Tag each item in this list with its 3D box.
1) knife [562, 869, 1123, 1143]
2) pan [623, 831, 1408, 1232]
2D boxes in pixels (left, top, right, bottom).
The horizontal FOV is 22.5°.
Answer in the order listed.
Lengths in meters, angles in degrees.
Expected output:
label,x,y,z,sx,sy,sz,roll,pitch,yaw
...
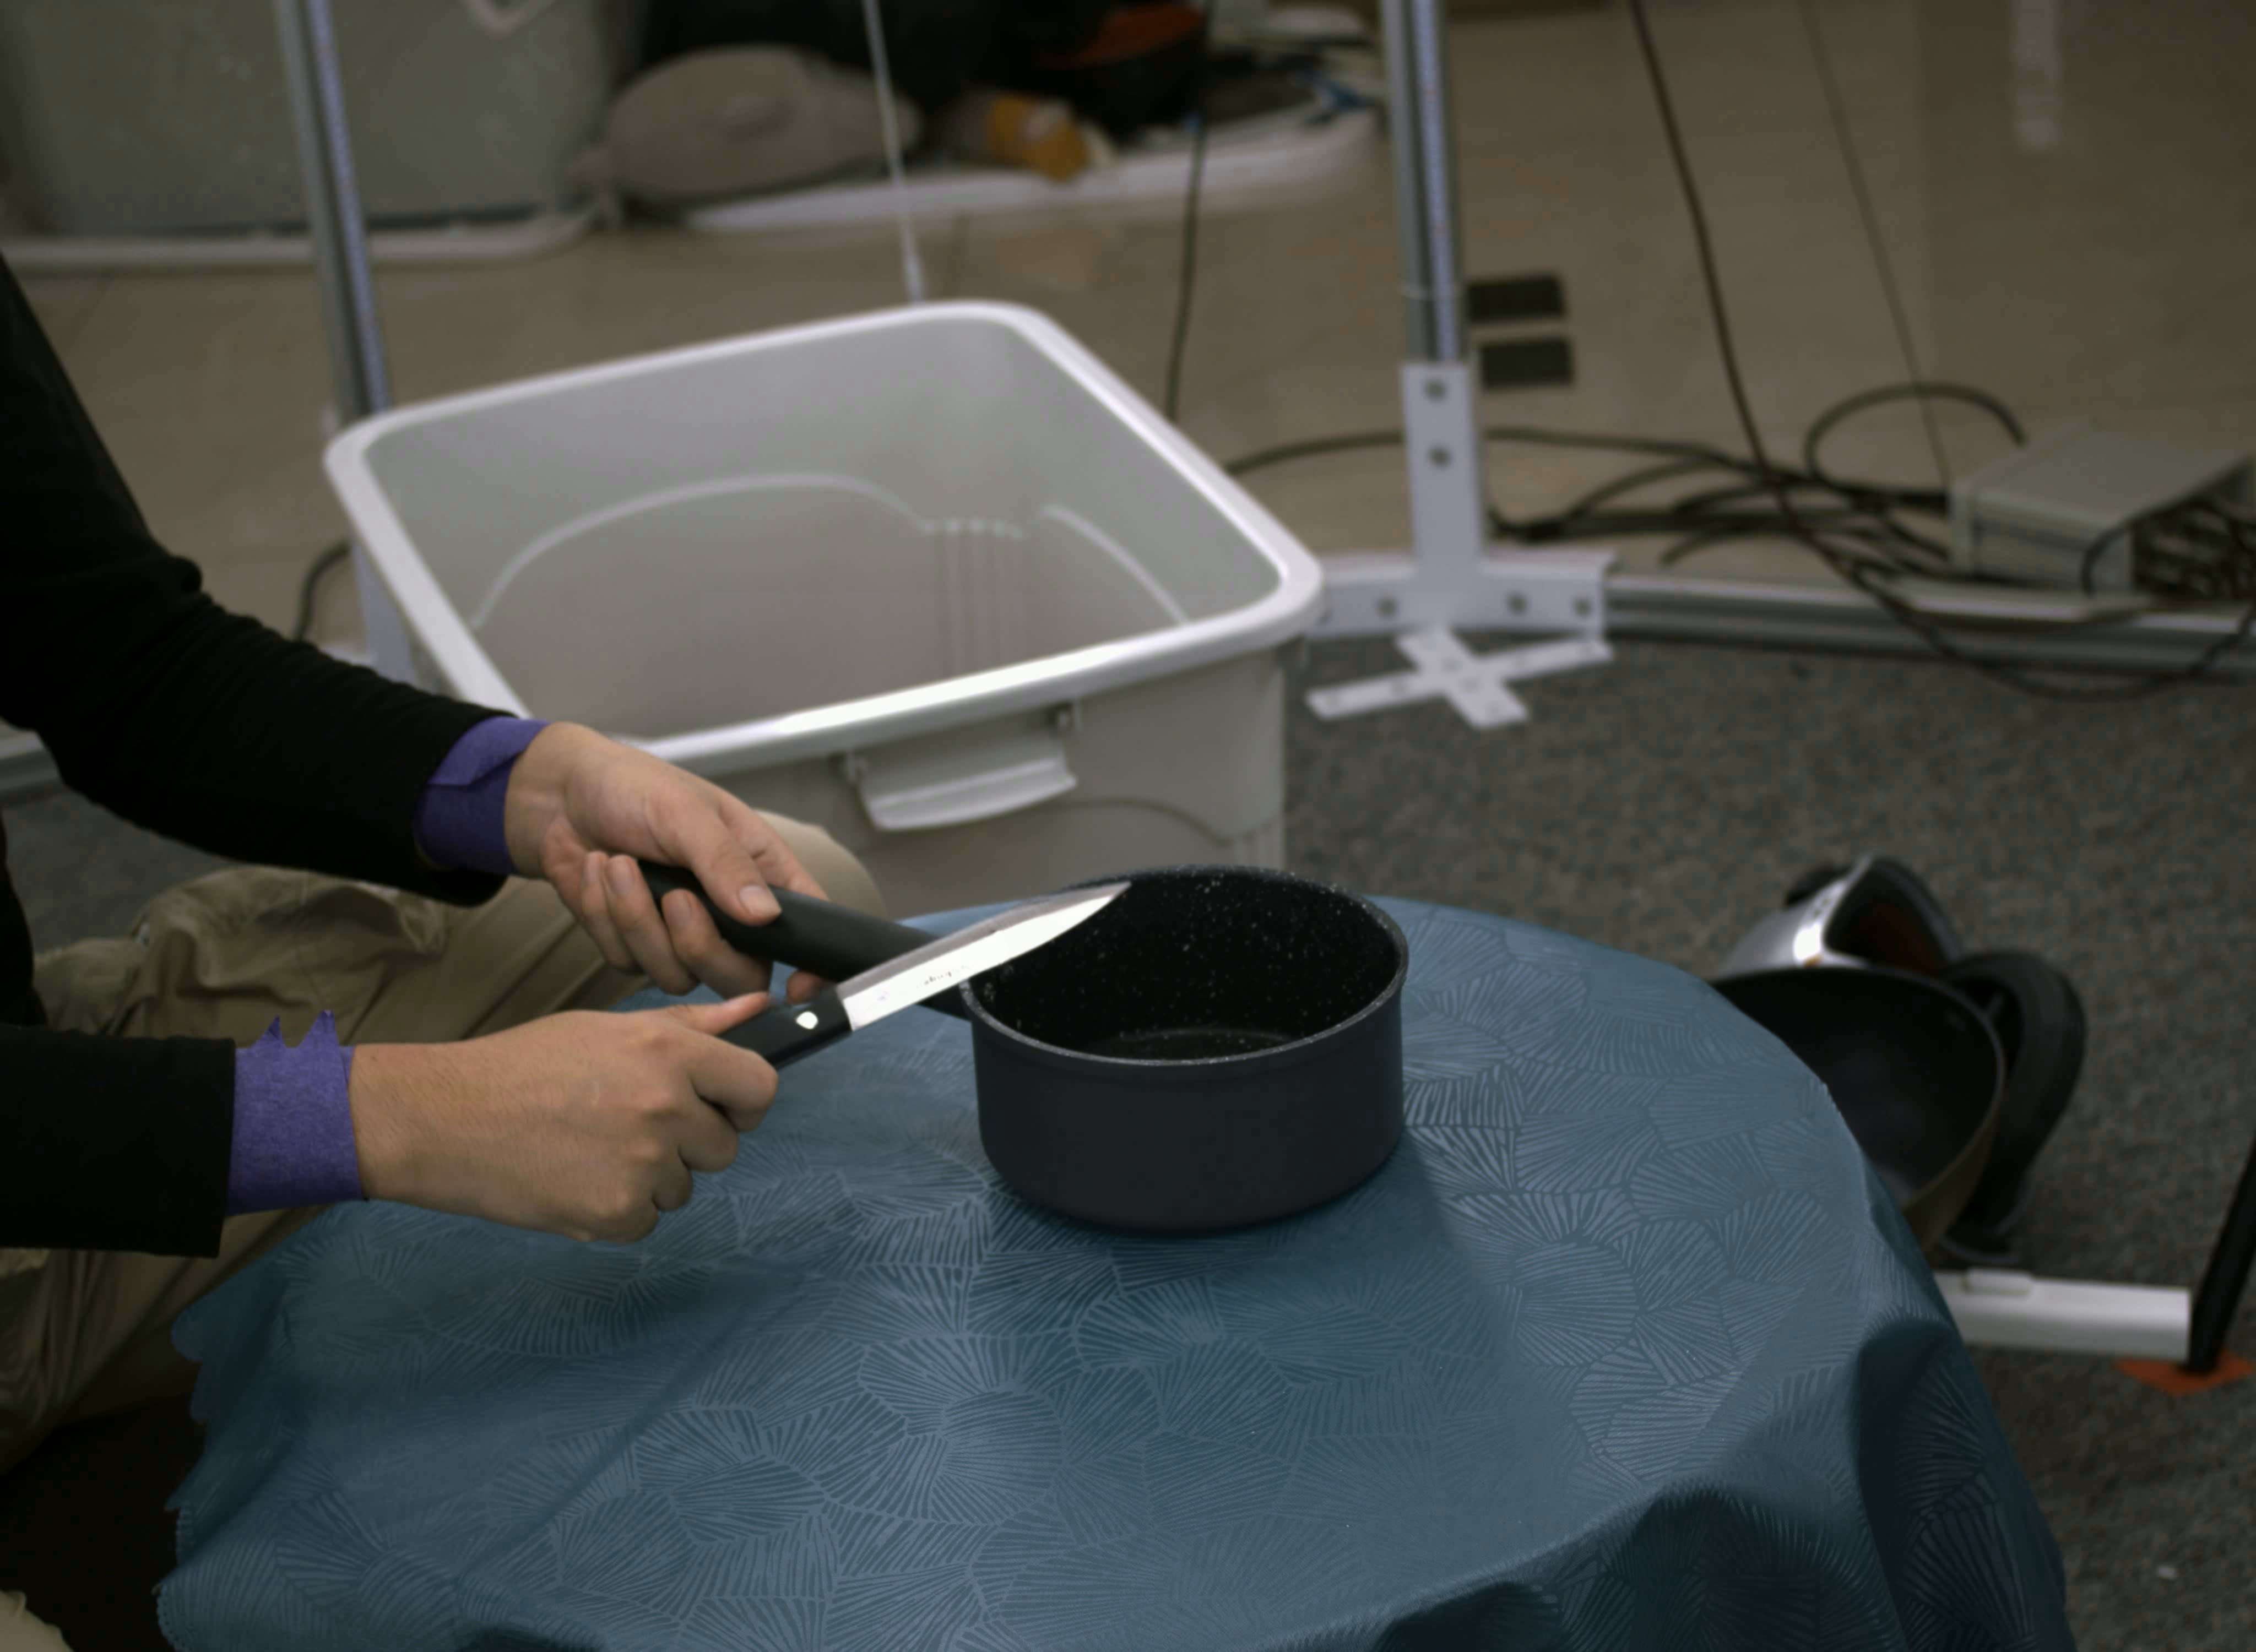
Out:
label,x,y,z,sx,sy,sz,roll,pitch,yaw
knife,-0.103,0.066,2.130,0.237,0.016,0.024,-24,56,-18
pan,-0.048,0.070,2.192,0.327,0.088,0.170,10,28,25
